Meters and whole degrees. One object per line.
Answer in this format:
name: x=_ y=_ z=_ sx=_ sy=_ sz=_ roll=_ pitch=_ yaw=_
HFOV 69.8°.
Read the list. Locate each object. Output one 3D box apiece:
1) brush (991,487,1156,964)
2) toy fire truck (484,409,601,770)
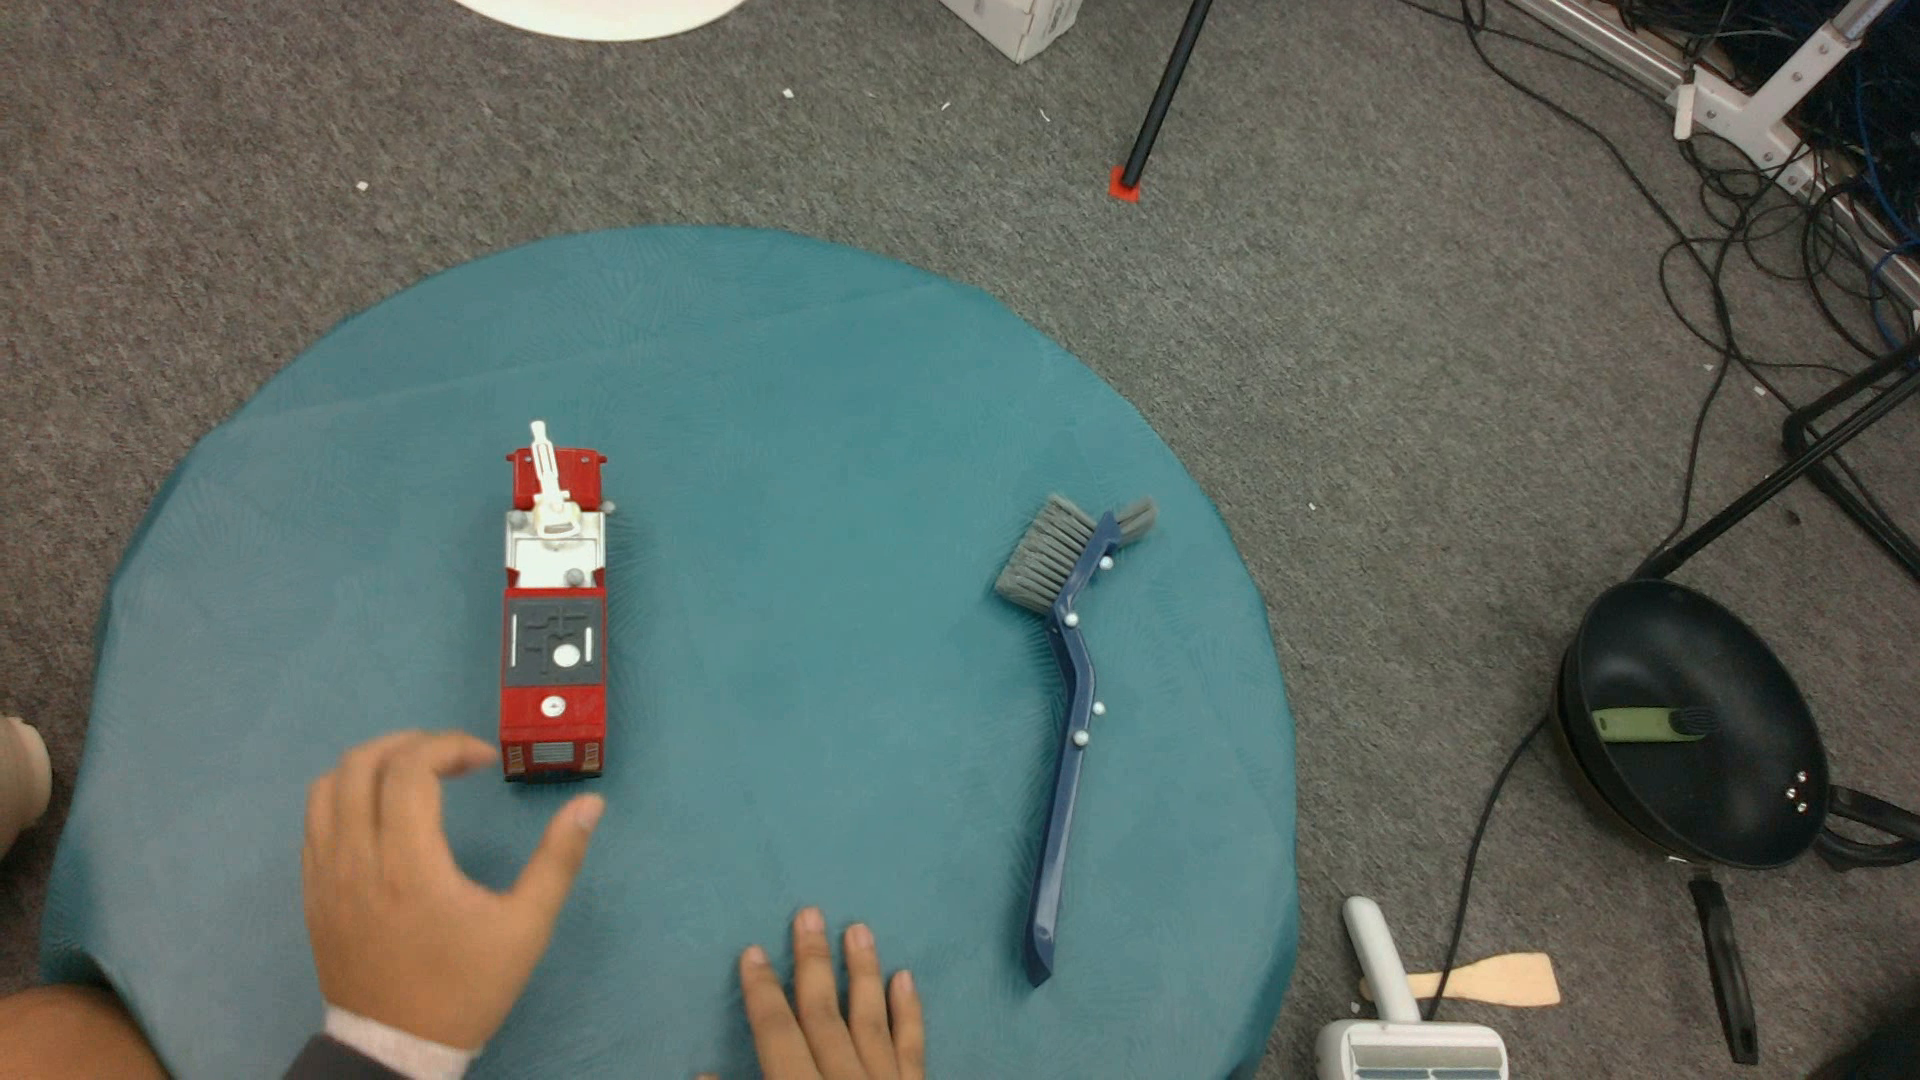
brush: x=0.060 y=0.086 z=0.724 sx=0.096 sy=0.033 sz=0.274 roll=11 pitch=59 yaw=-12
toy fire truck: x=-0.203 y=0.025 z=0.665 sx=0.054 sy=0.070 sz=0.168 roll=-1 pitch=63 yaw=-17
